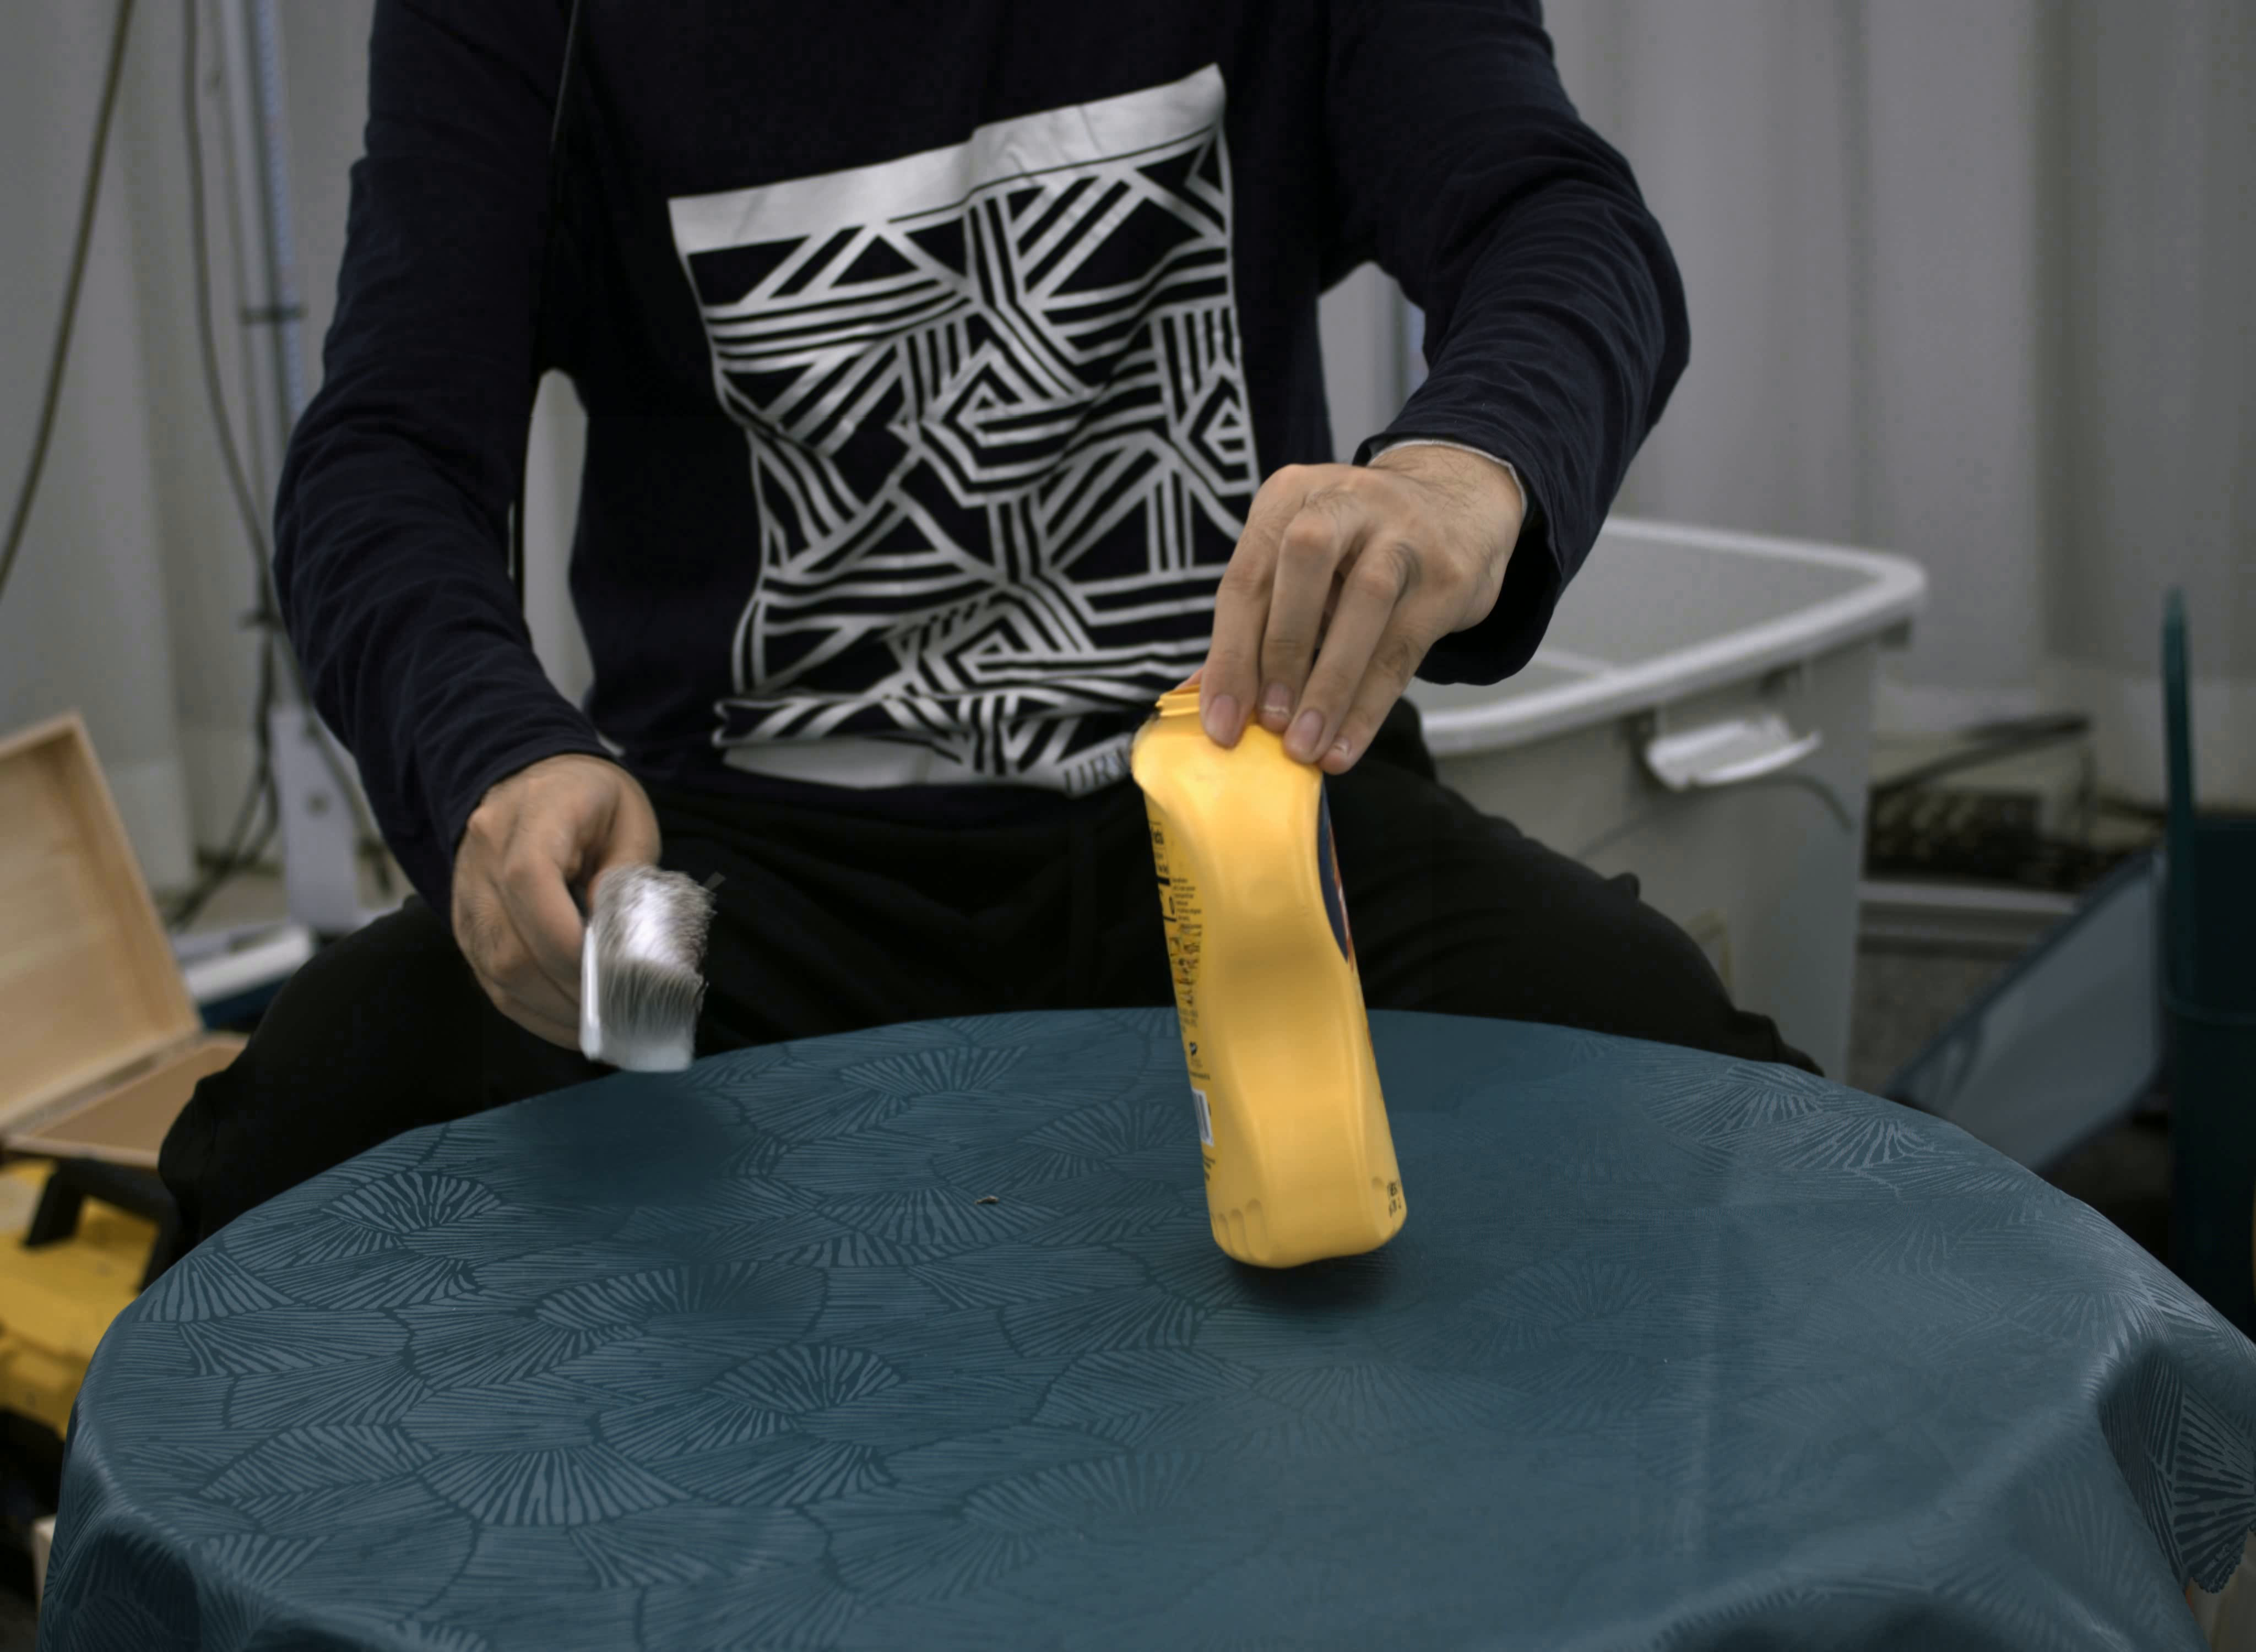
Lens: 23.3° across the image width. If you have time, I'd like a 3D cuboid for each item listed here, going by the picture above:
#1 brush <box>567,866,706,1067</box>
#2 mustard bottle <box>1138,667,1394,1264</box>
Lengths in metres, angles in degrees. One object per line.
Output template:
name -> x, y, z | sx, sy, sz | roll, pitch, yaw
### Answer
brush -> -0.153, 0.027, 1.710 | 0.034, 0.050, 0.245 | 15, 8, -7
mustard bottle -> 0.040, 0.039, 1.631 | 0.059, 0.172, 0.098 | -8, 3, -9
